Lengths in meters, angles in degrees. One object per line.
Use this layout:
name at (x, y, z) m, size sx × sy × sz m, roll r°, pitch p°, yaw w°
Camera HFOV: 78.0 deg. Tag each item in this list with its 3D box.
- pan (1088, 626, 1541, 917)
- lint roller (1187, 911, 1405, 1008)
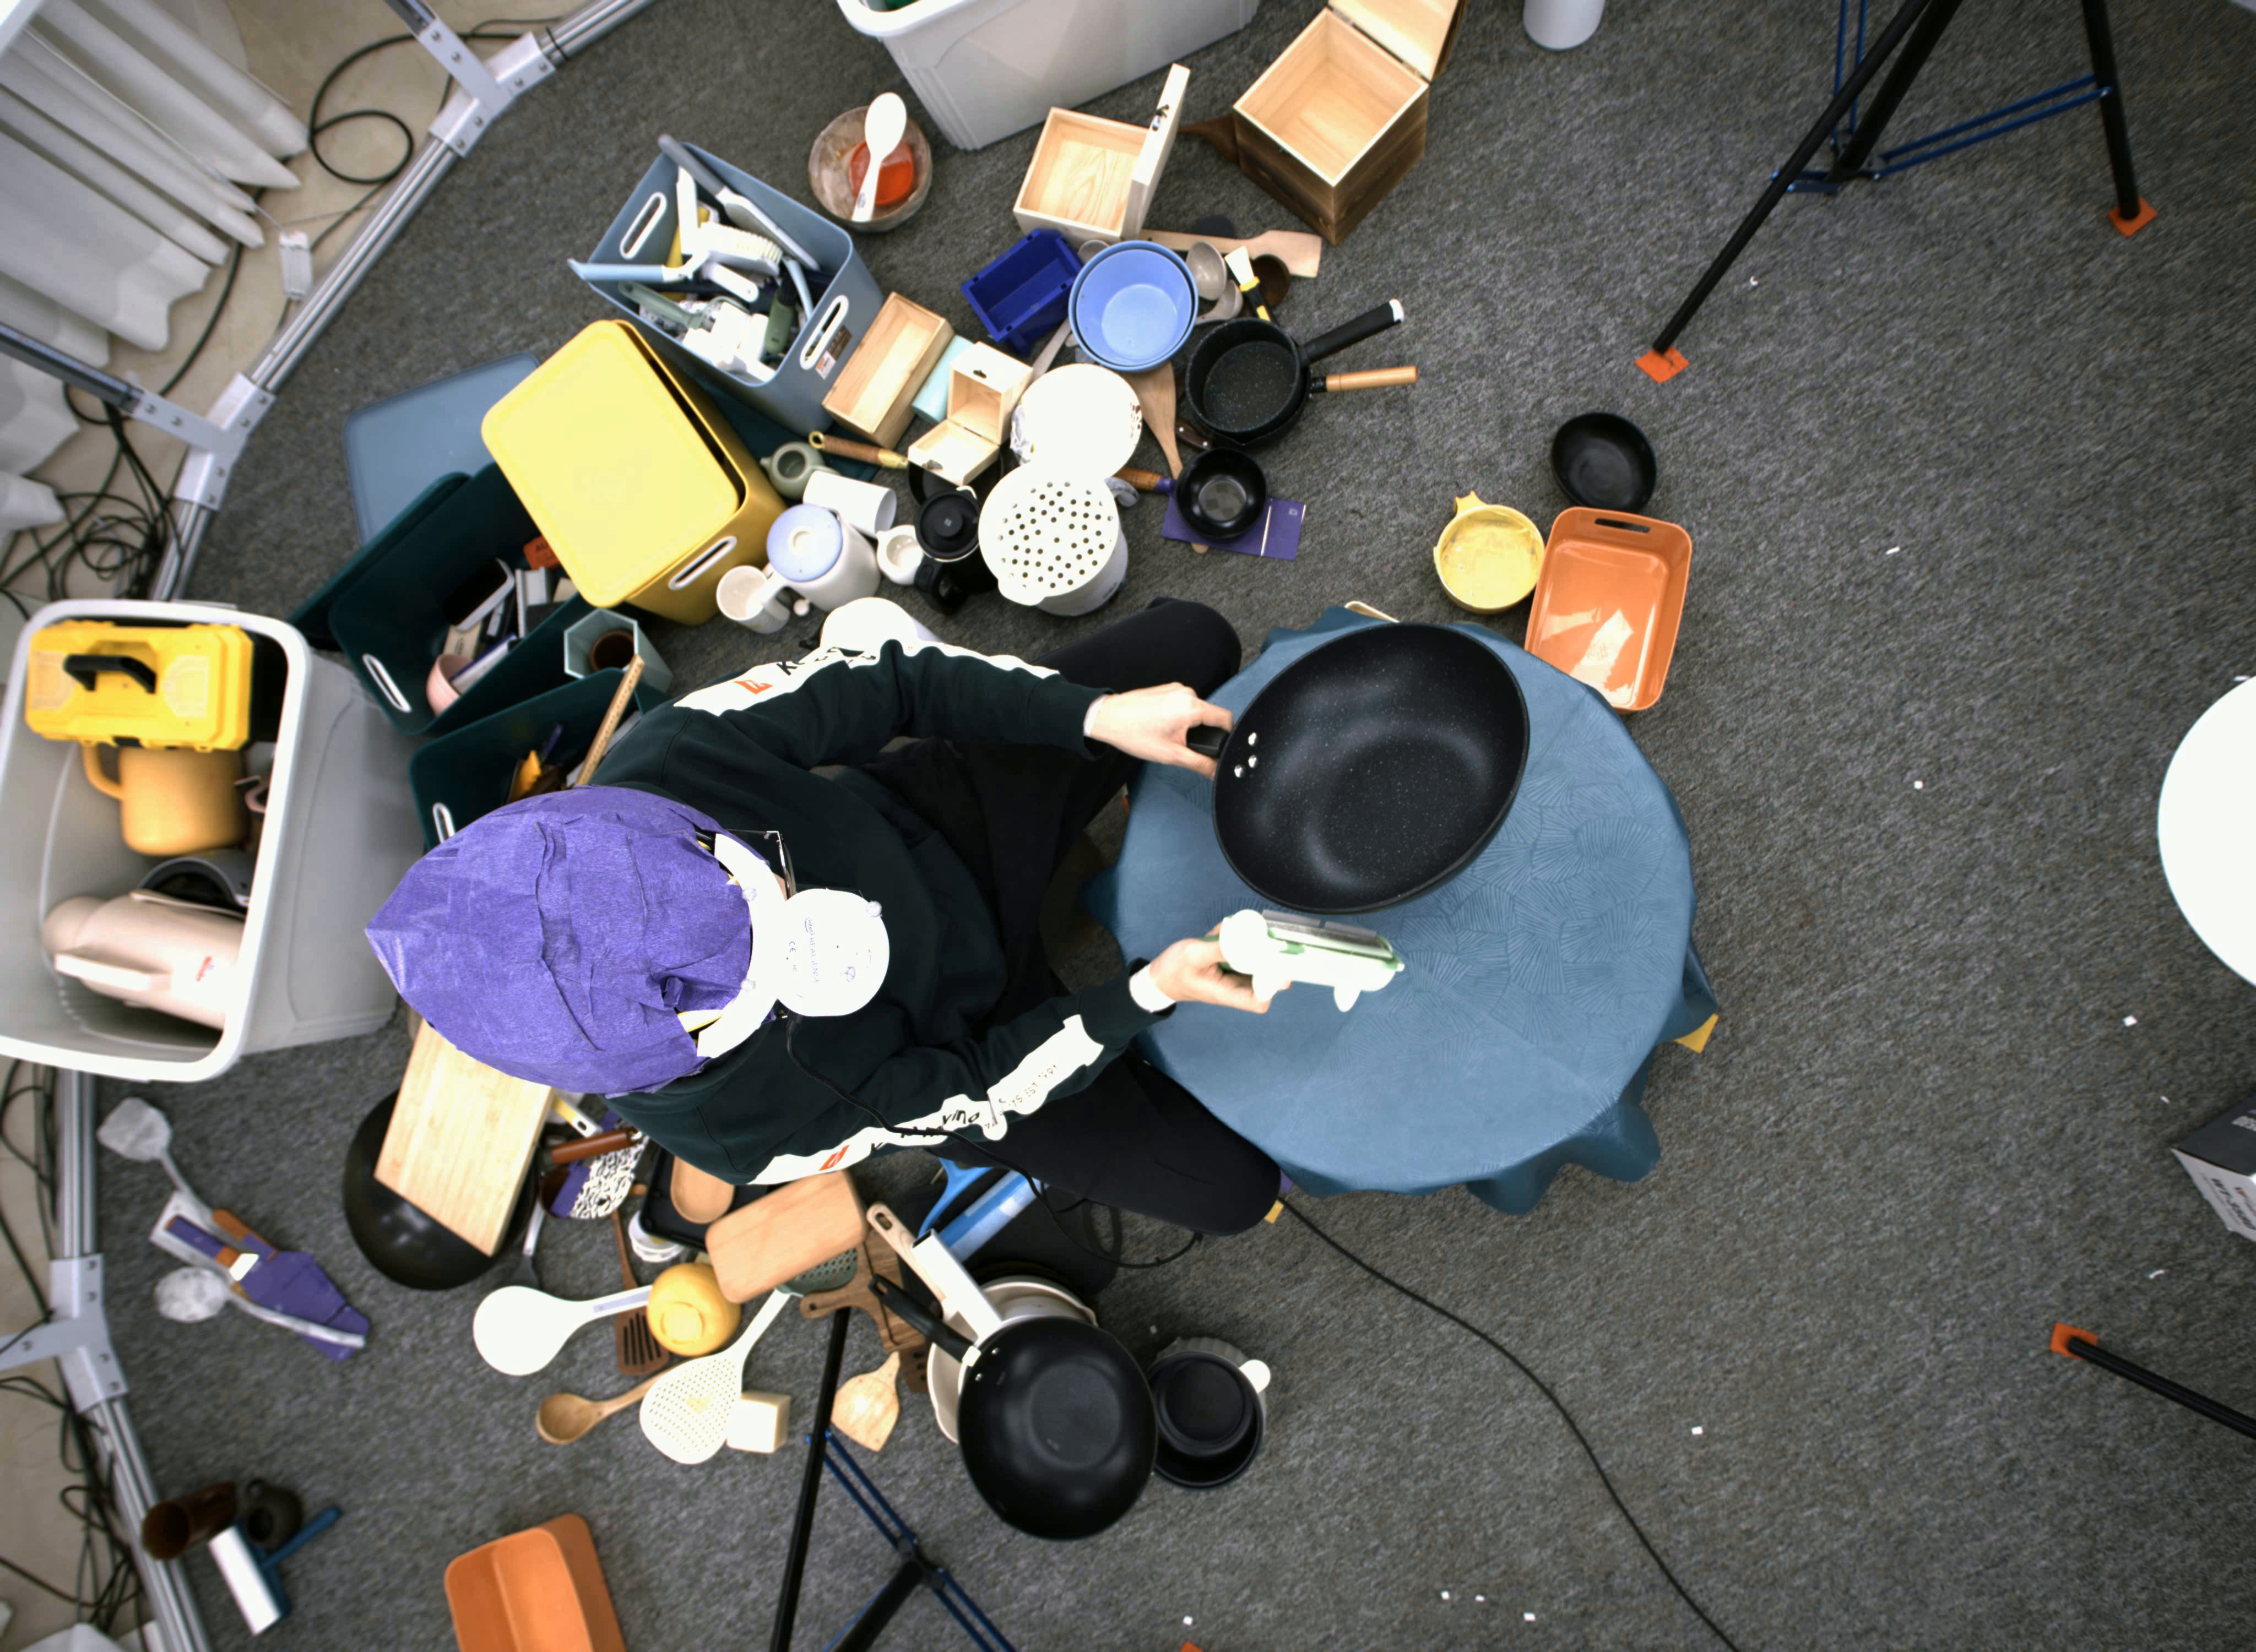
pan at (0.169, -0.057, 1.321) m, size 0.478 × 0.113 × 0.305 m, roll 11°, pitch 68°, yaw 39°
lint roller at (0.126, 0.129, 1.269) m, size 0.186 × 0.198 × 0.081 m, roll -18°, pitch 69°, yaw 42°
